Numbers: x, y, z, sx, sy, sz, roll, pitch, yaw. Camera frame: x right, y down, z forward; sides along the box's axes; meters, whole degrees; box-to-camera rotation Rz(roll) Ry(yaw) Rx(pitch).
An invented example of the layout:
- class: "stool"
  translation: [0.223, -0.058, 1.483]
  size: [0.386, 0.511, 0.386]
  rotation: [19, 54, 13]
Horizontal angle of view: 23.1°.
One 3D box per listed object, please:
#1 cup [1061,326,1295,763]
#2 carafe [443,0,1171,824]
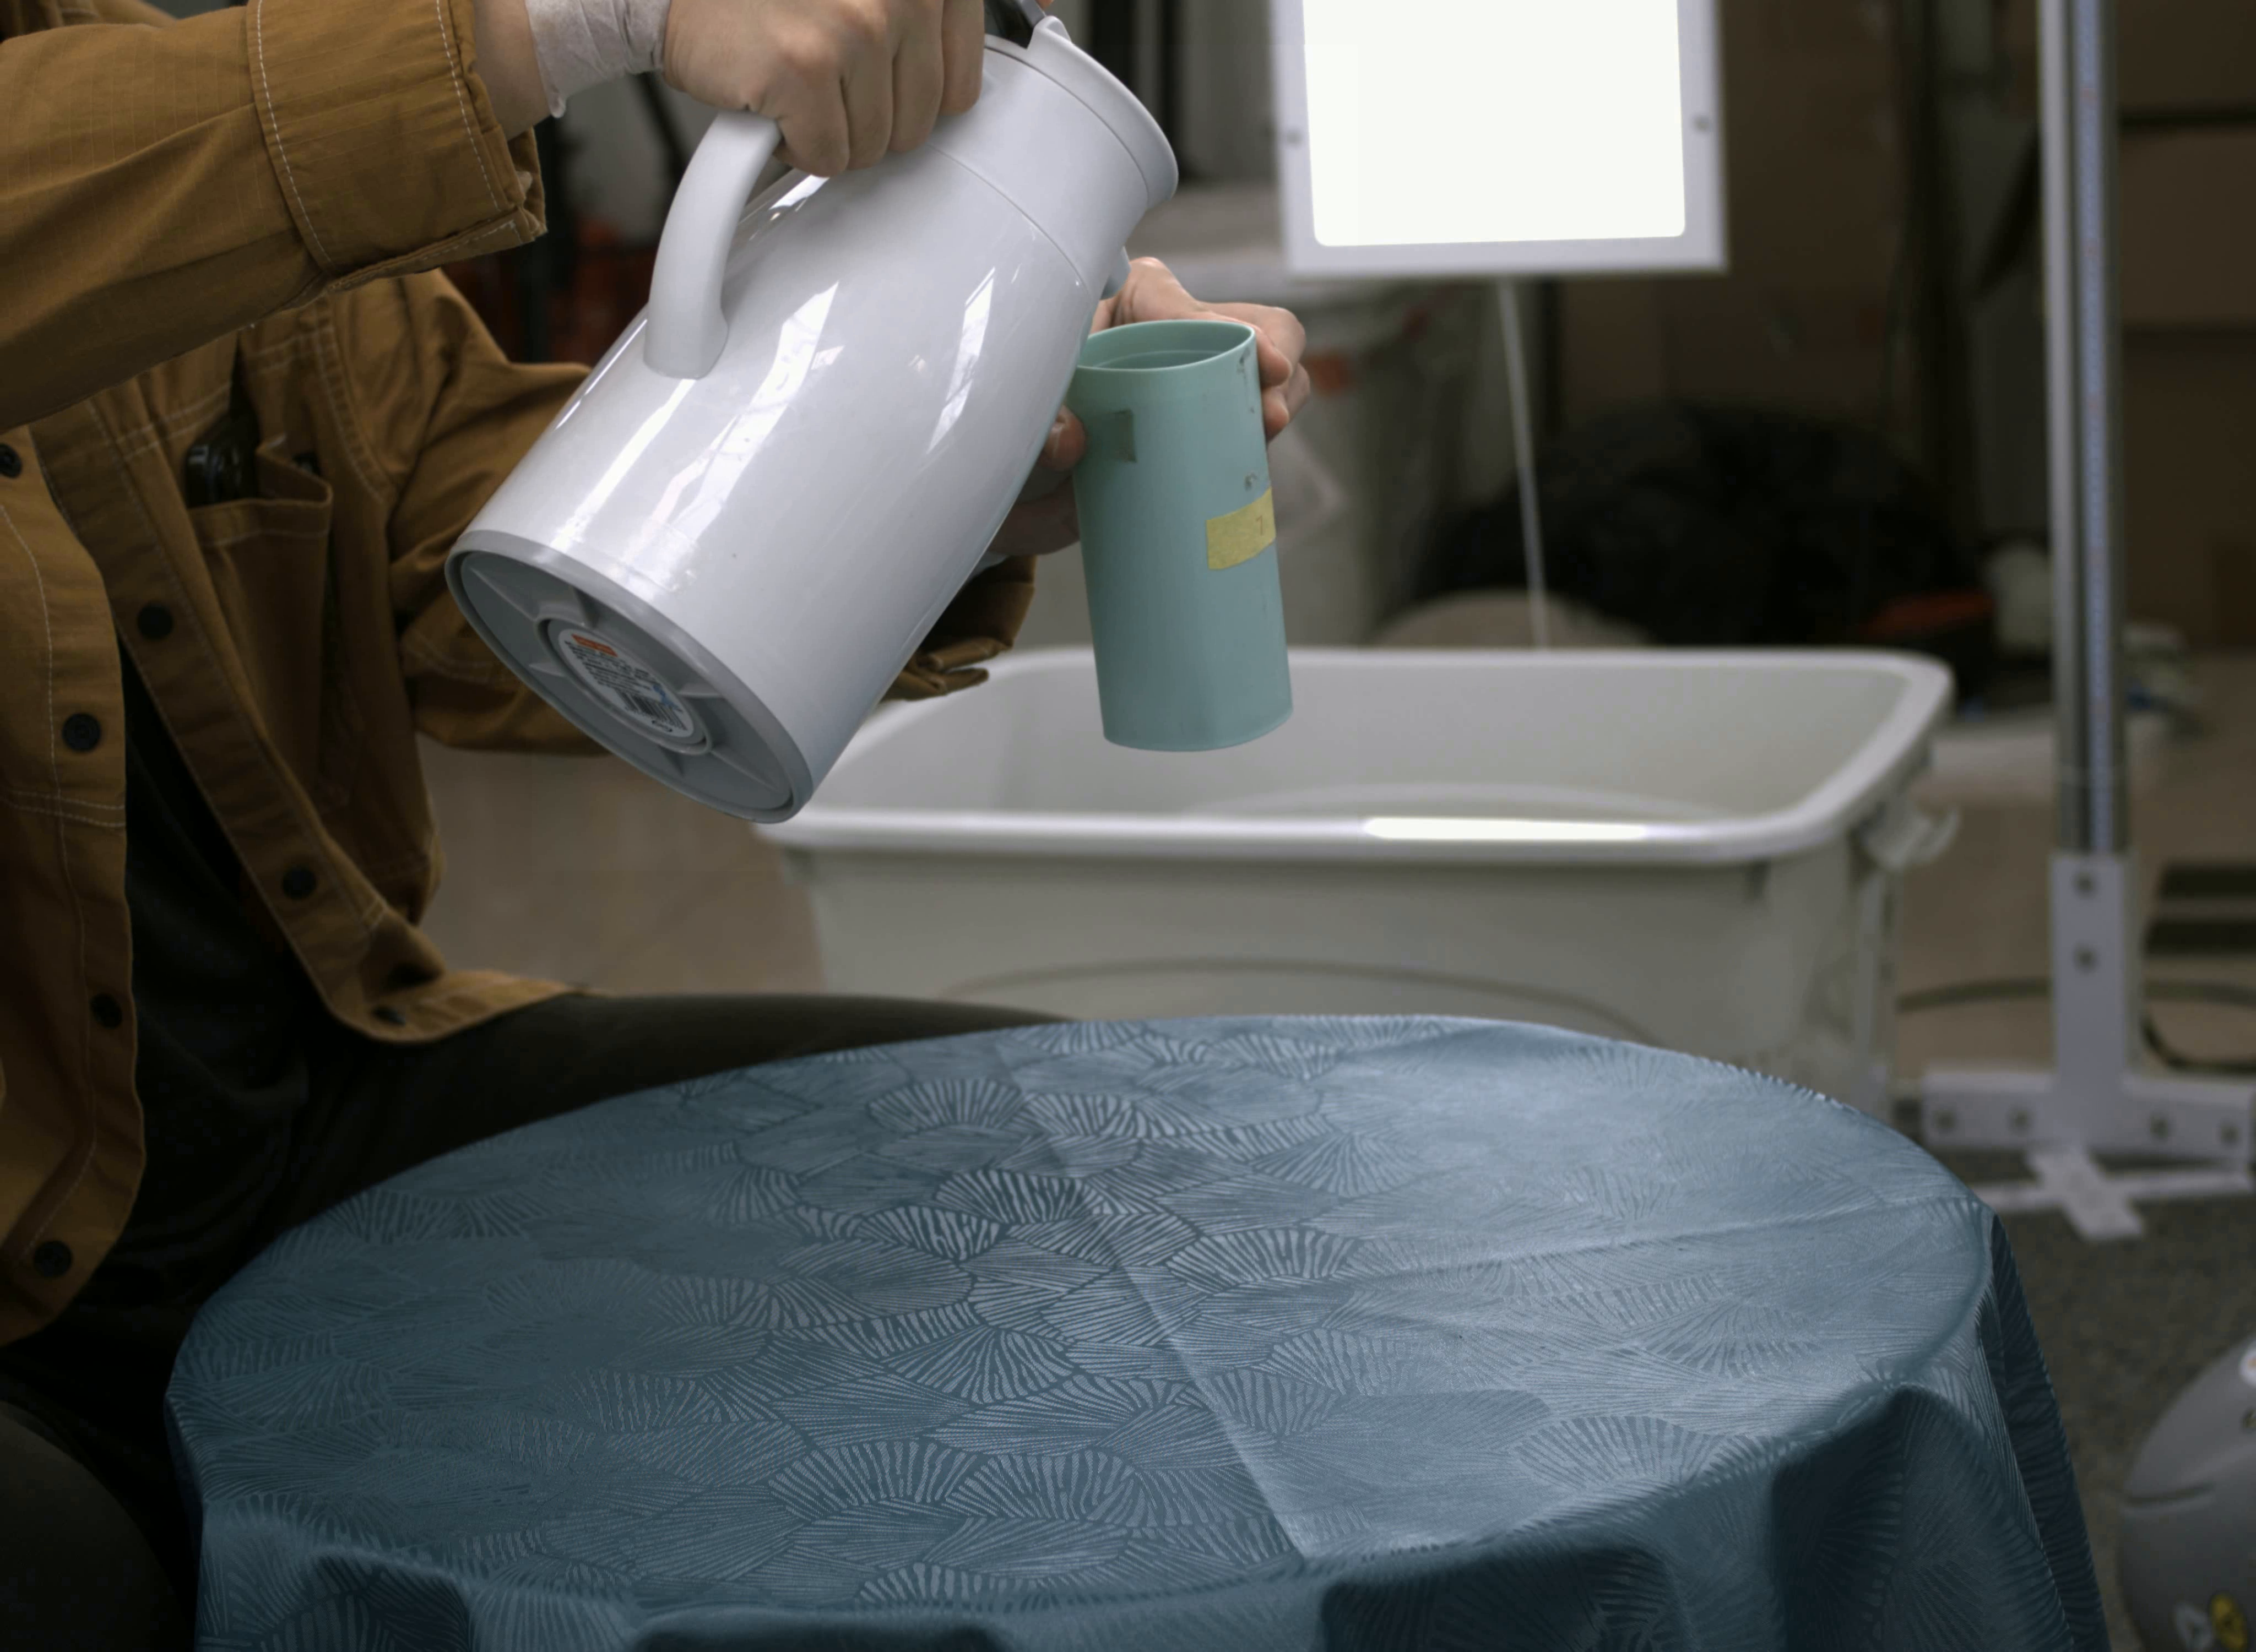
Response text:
- class: "cup"
  translation: [0.016, -0.093, 1.810]
  size: [0.066, 0.133, 0.066]
  rotation: [-6, 18, 1]
- class: "carafe"
  translation: [-0.093, -0.147, 1.687]
  size: [0.135, 0.166, 0.246]
  rotation: [22, 69, 38]
